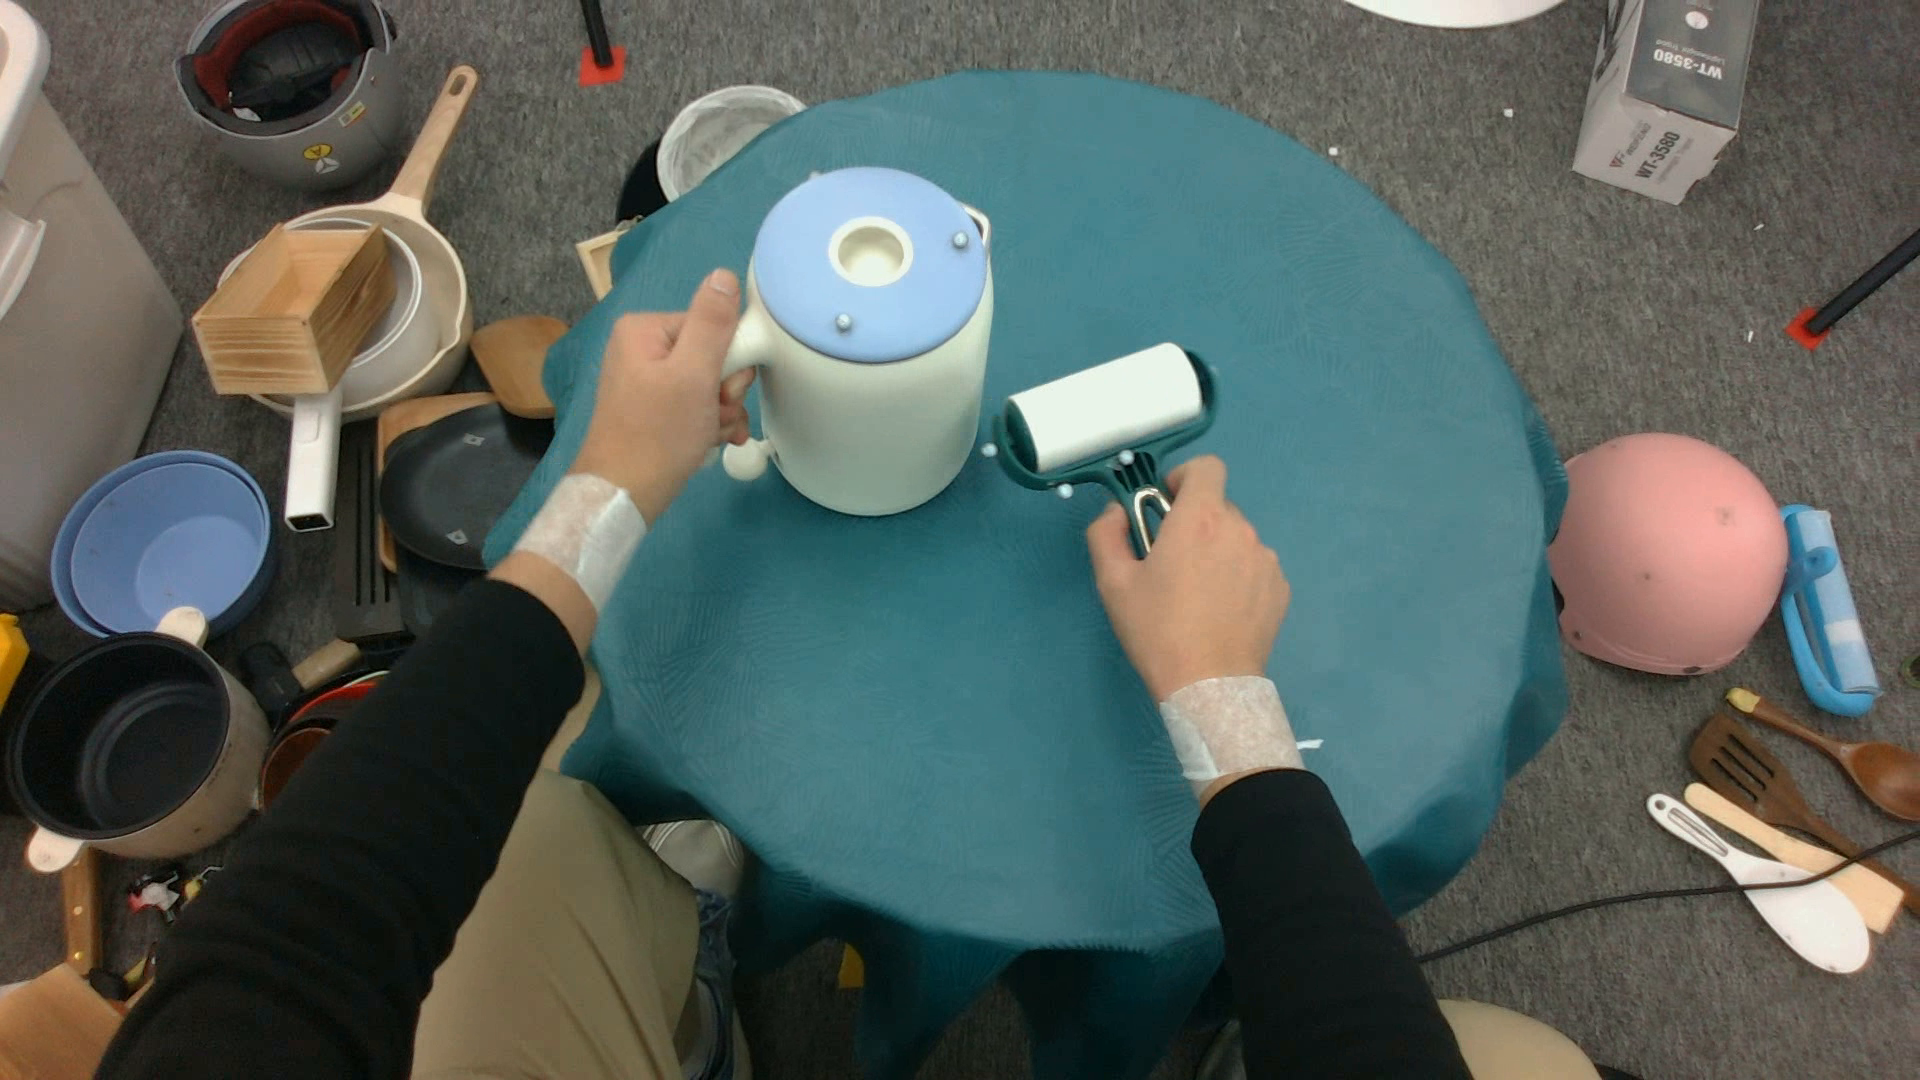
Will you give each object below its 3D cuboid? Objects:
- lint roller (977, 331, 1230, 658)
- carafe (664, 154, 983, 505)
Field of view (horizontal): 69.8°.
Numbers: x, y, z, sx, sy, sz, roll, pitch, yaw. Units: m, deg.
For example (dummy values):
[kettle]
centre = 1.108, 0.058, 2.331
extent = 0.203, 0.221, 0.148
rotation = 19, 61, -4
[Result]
[lint roller]
centre = 0.102, -0.023, 0.745
extent = 0.134, 0.048, 0.180
rotation = -19, 67, -10
[carafe]
centre = -0.077, -0.101, 0.762
extent = 0.191, 0.182, 0.132
rotation = -29, 70, -15
